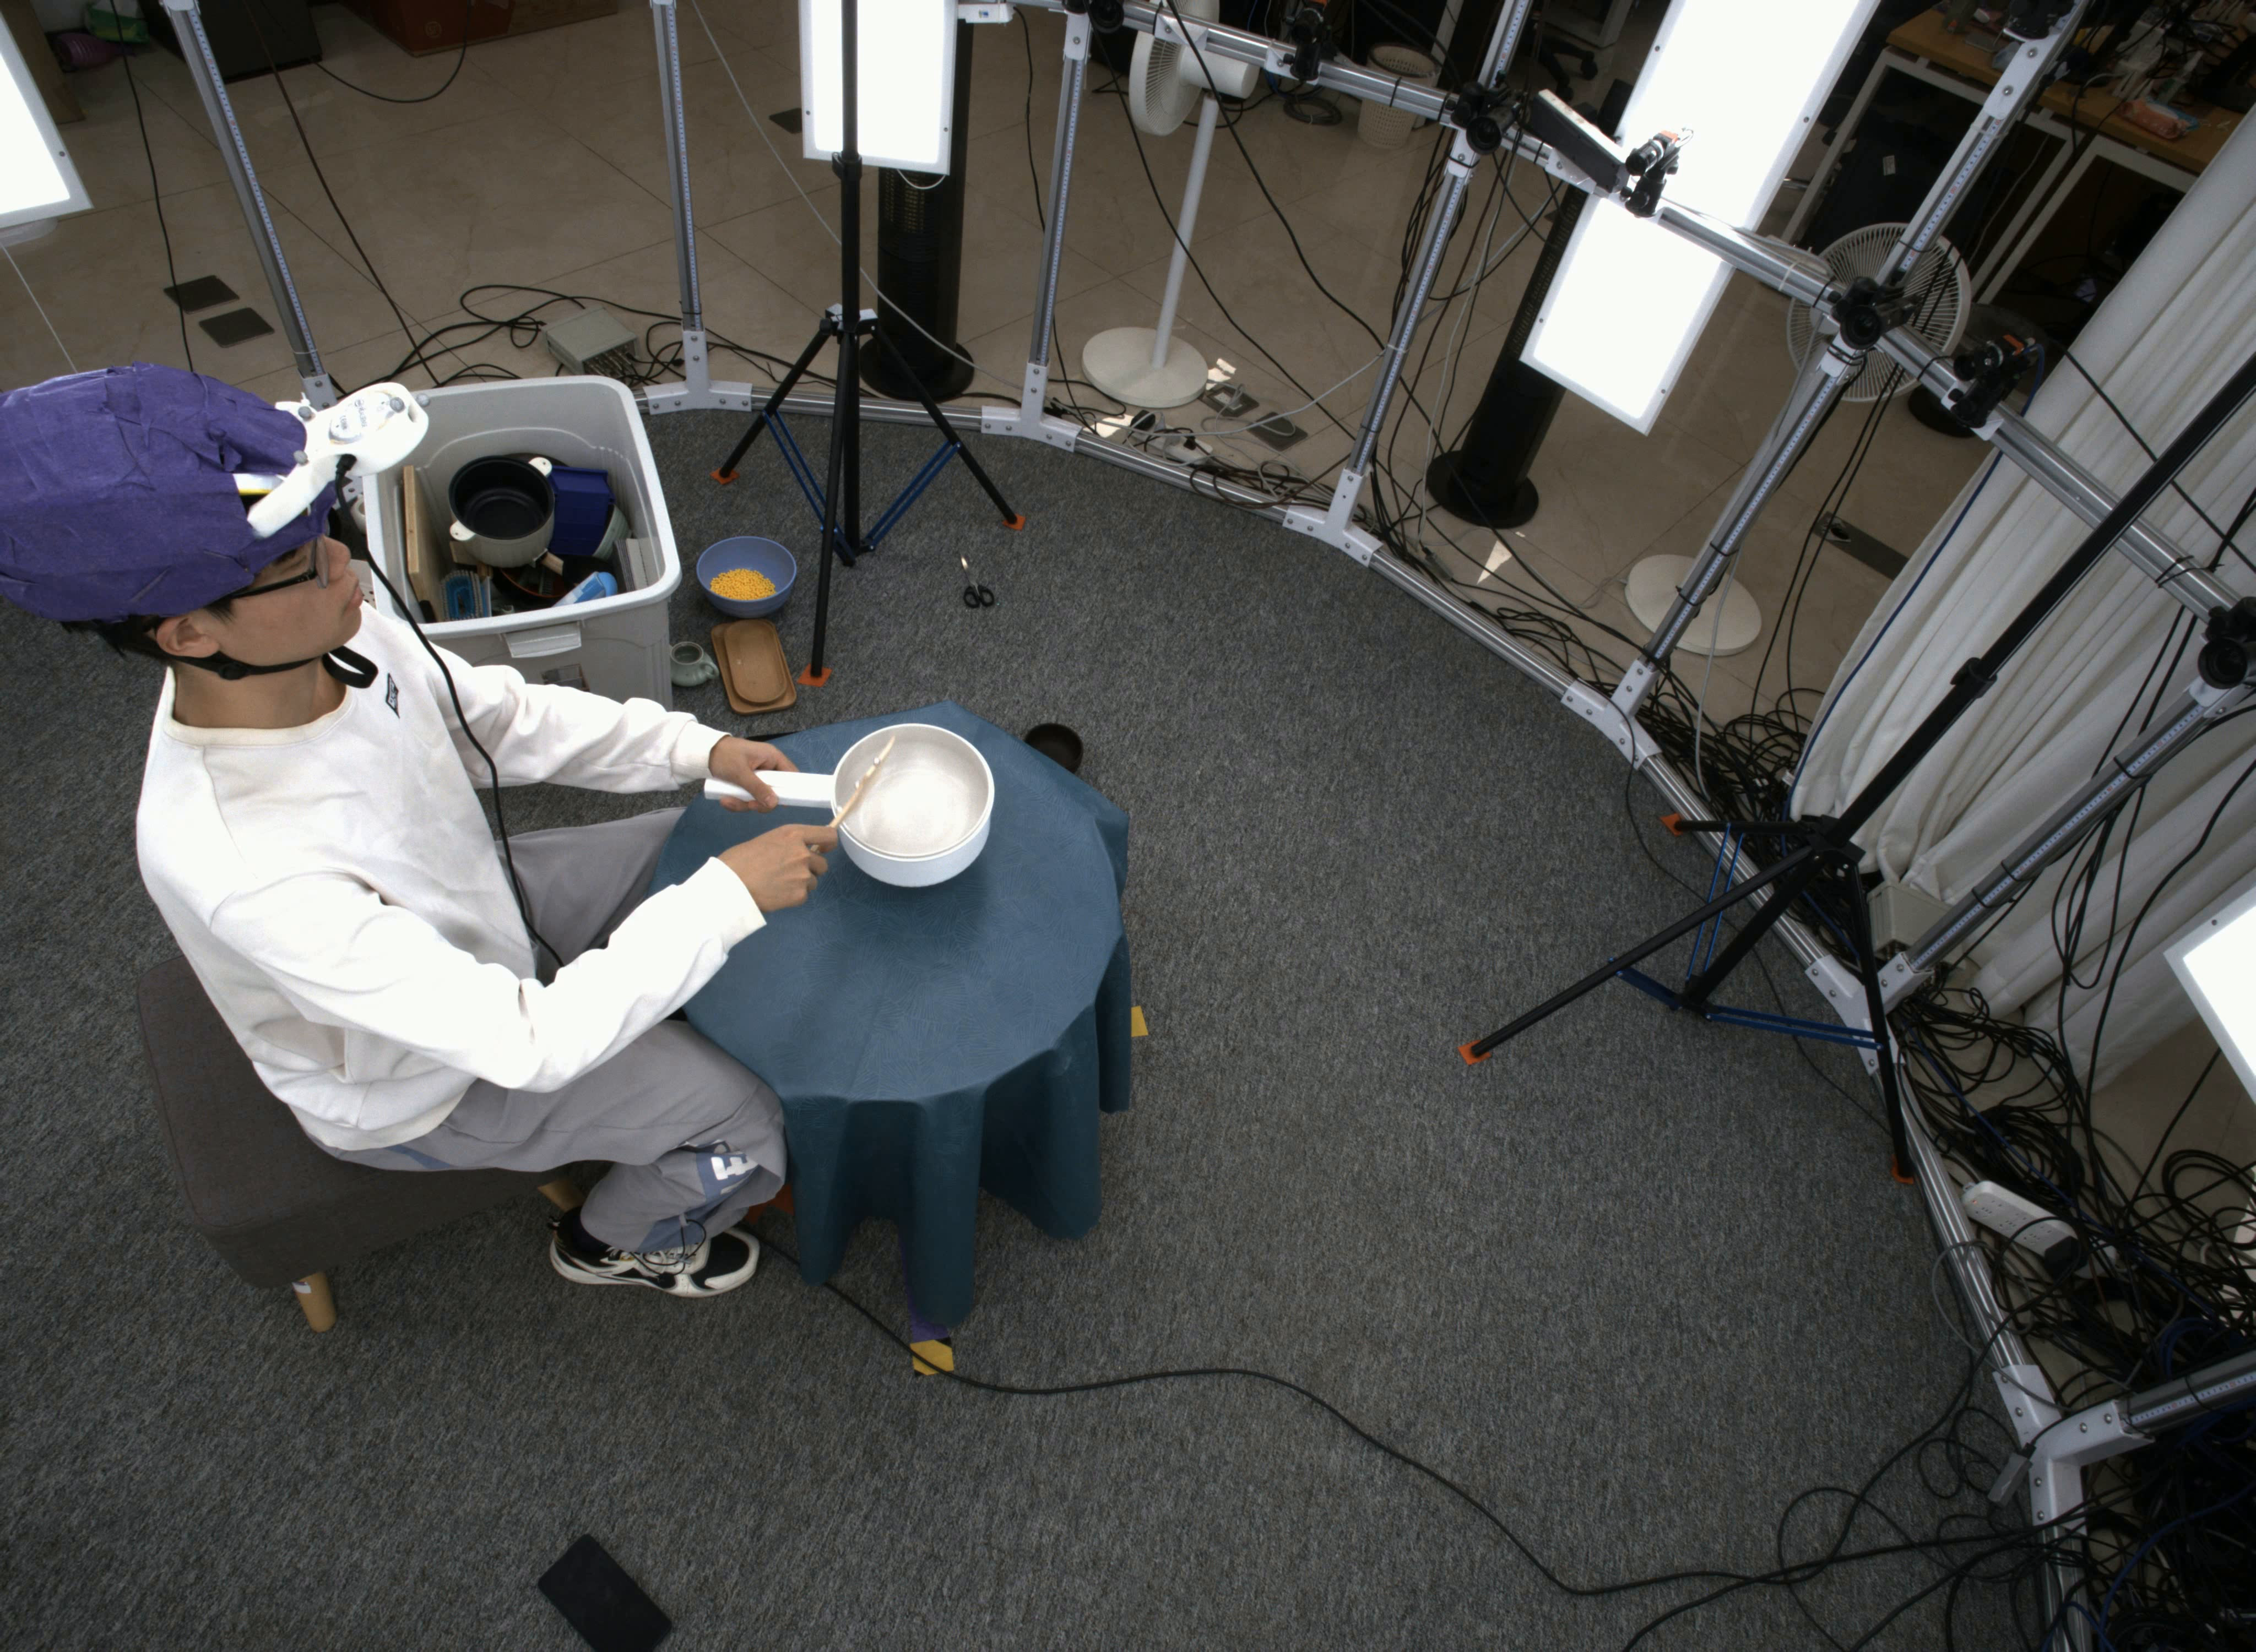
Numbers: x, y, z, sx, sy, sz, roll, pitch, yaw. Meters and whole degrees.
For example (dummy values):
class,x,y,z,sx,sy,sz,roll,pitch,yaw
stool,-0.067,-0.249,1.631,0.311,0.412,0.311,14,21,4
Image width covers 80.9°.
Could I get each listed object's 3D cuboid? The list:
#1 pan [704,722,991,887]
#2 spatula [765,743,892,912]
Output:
class,x,y,z,sx,sy,sz,roll,pitch,yaw
pan,-0.350,-0.028,1.648,0.353,0.104,0.198,3,60,-7
spatula,-0.341,0.001,1.496,0.010,0.073,0.290,29,40,-1
